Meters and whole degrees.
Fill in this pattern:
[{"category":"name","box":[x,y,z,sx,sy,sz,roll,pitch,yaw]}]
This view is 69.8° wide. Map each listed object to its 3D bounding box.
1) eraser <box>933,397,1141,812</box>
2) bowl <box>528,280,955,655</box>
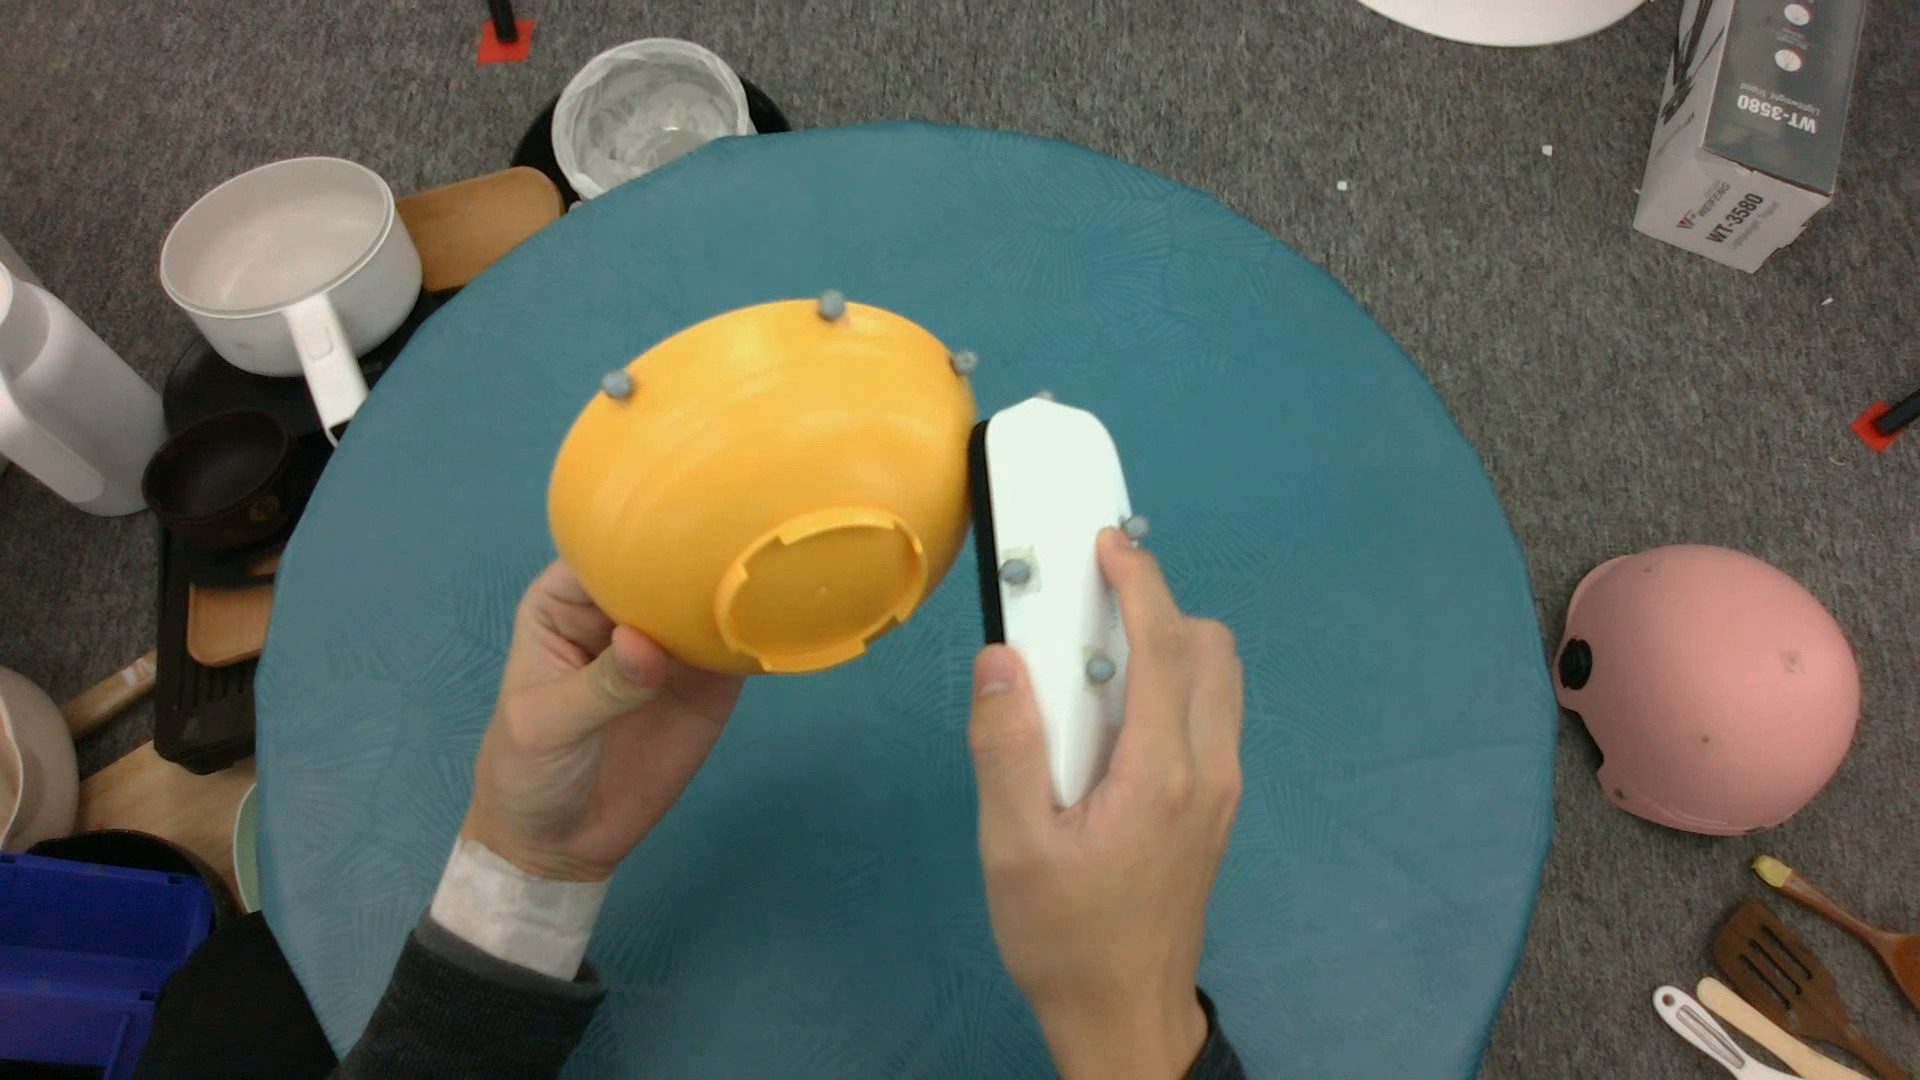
[{"category":"eraser","box":[0.026,0.020,0.443,0.034,0.063,0.131,-14,80,34]},{"category":"bowl","box":[-0.059,-0.007,0.441,0.145,0.144,0.060,-21,52,-12]}]
